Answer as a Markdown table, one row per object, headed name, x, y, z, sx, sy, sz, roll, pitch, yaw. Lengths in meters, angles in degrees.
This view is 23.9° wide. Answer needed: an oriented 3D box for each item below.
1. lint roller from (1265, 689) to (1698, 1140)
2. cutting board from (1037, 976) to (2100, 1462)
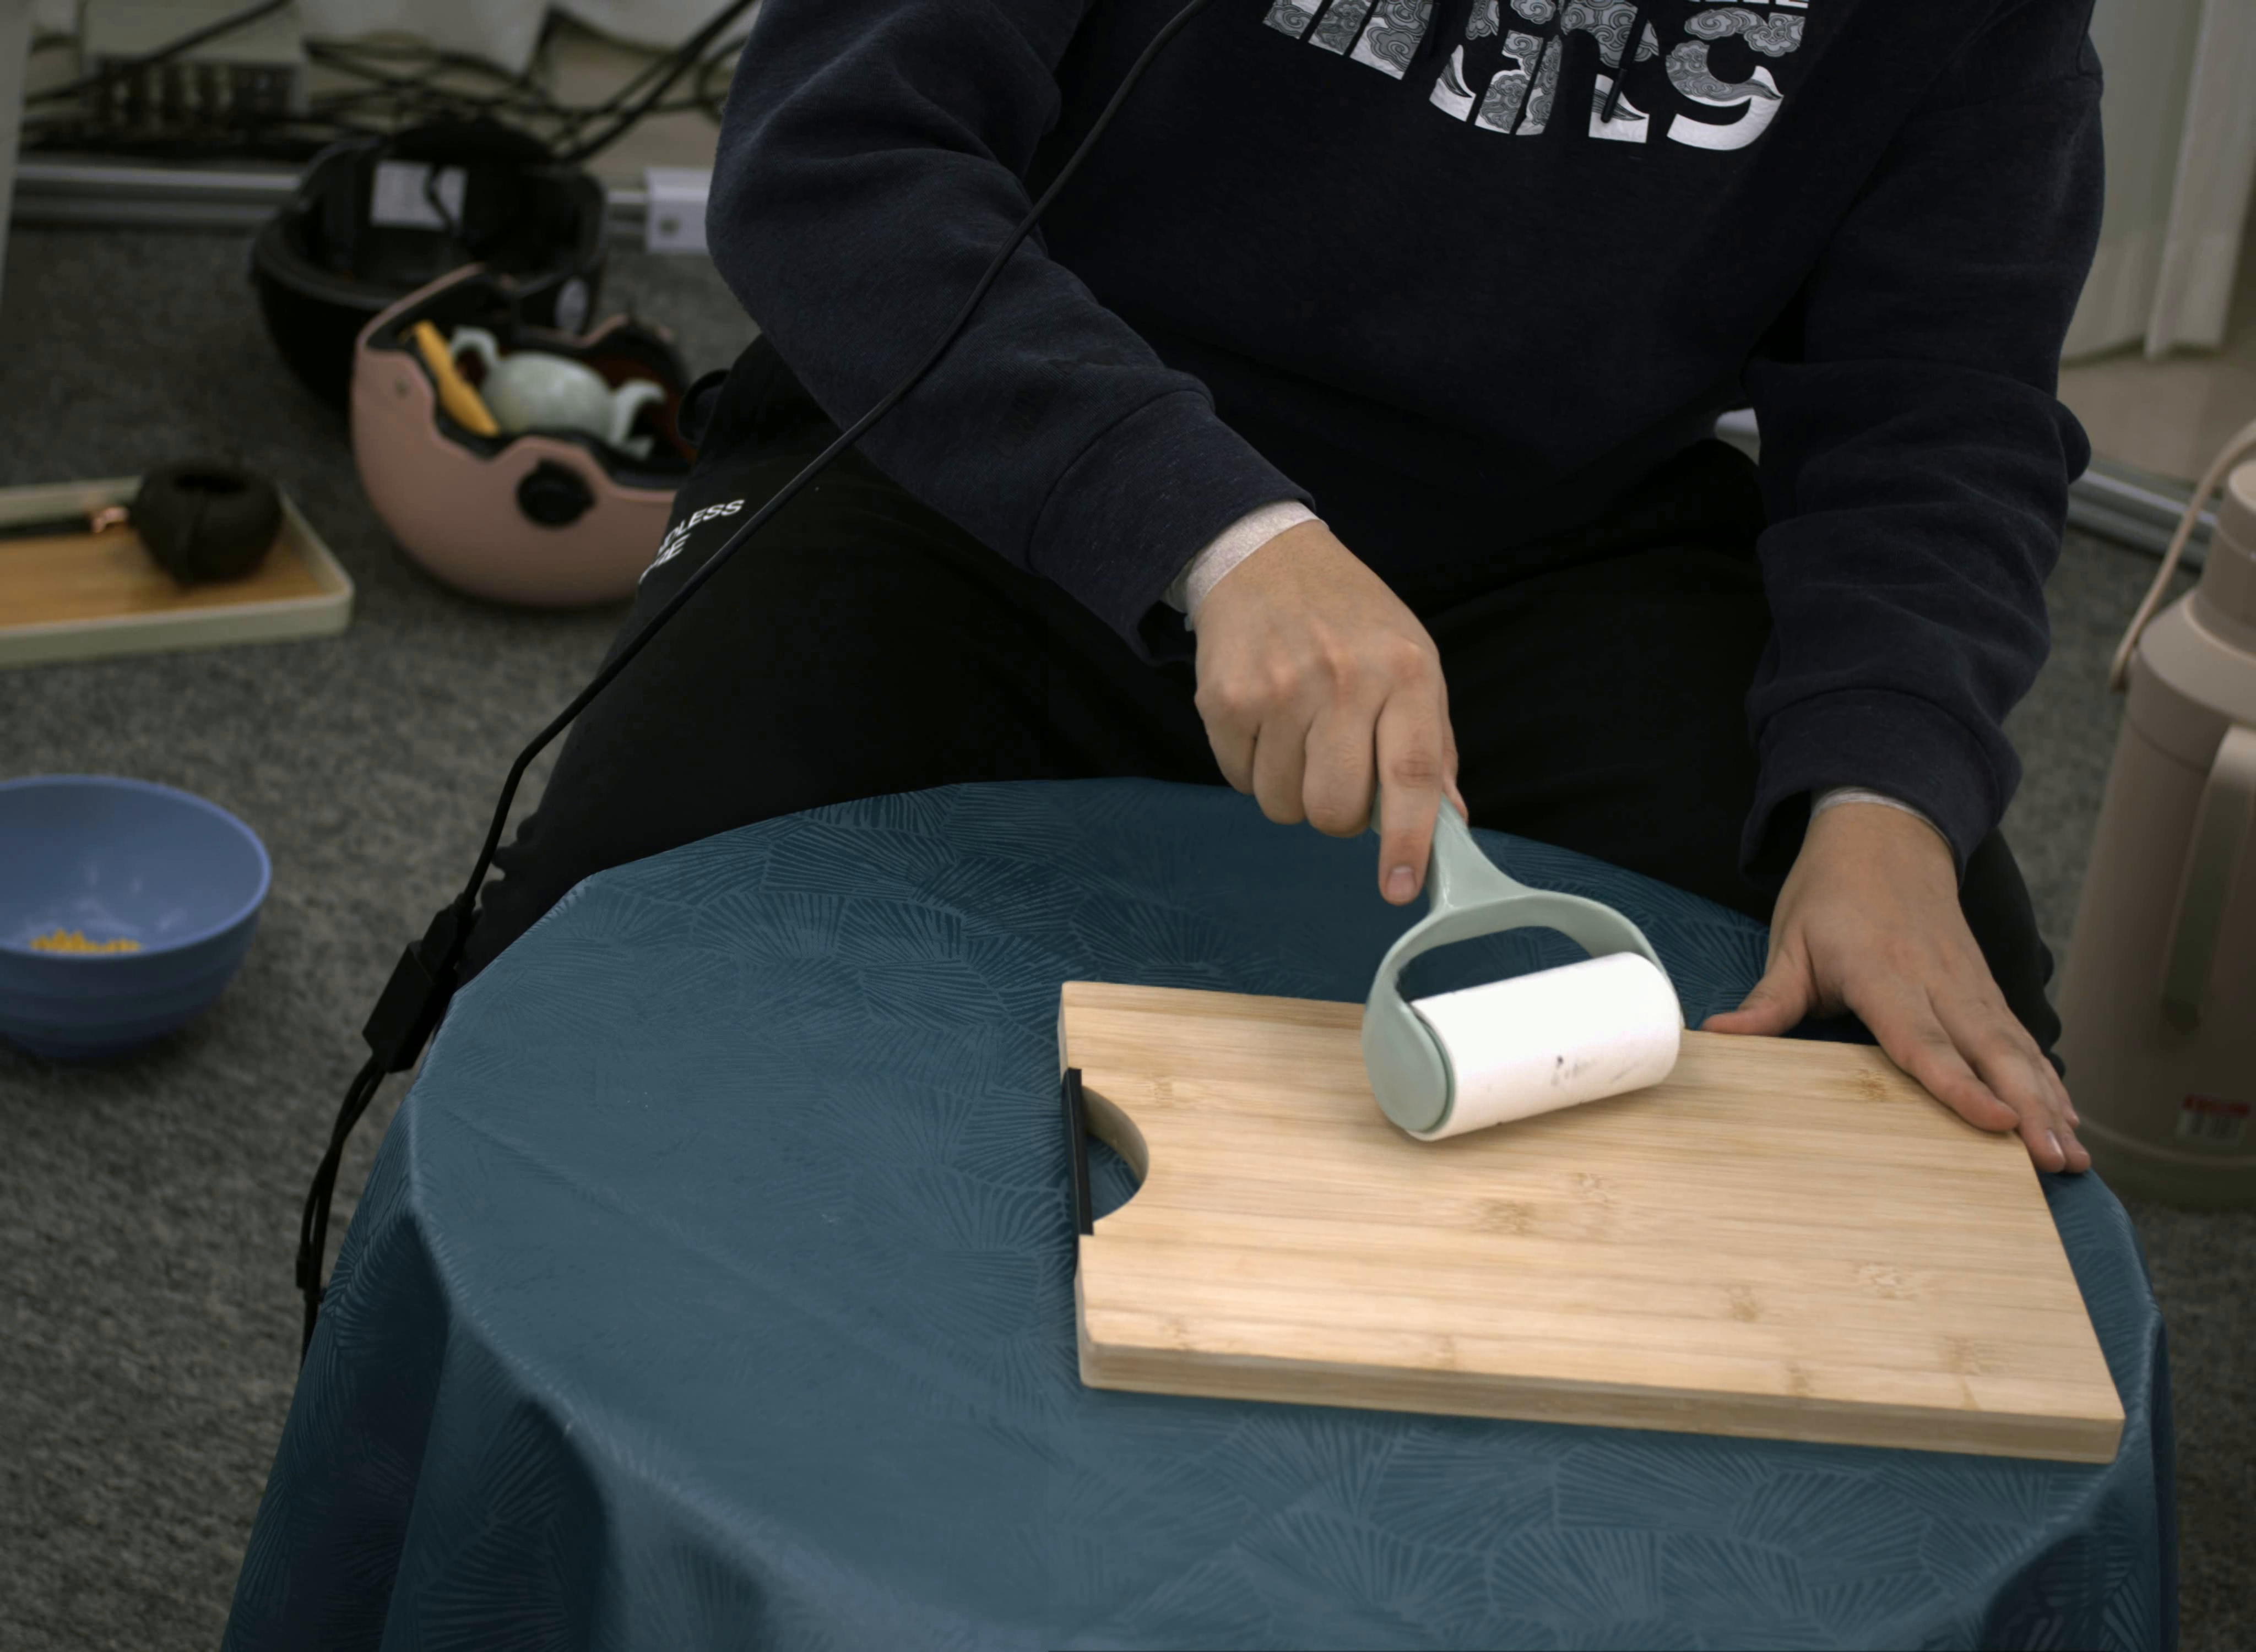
| name | x | y | z | sx | sy | sz | roll | pitch | yaw |
| --- | --- | --- | --- | --- | --- | --- | --- | --- | --- |
| lint roller | 0.111 | 0.018 | 1.881 | 0.116 | 0.048 | 0.199 | -14 | 58 | -31 |
| cutting board | 0.143 | 0.131 | 1.809 | 0.347 | 0.023 | 0.252 | 4 | 26 | -5 |
